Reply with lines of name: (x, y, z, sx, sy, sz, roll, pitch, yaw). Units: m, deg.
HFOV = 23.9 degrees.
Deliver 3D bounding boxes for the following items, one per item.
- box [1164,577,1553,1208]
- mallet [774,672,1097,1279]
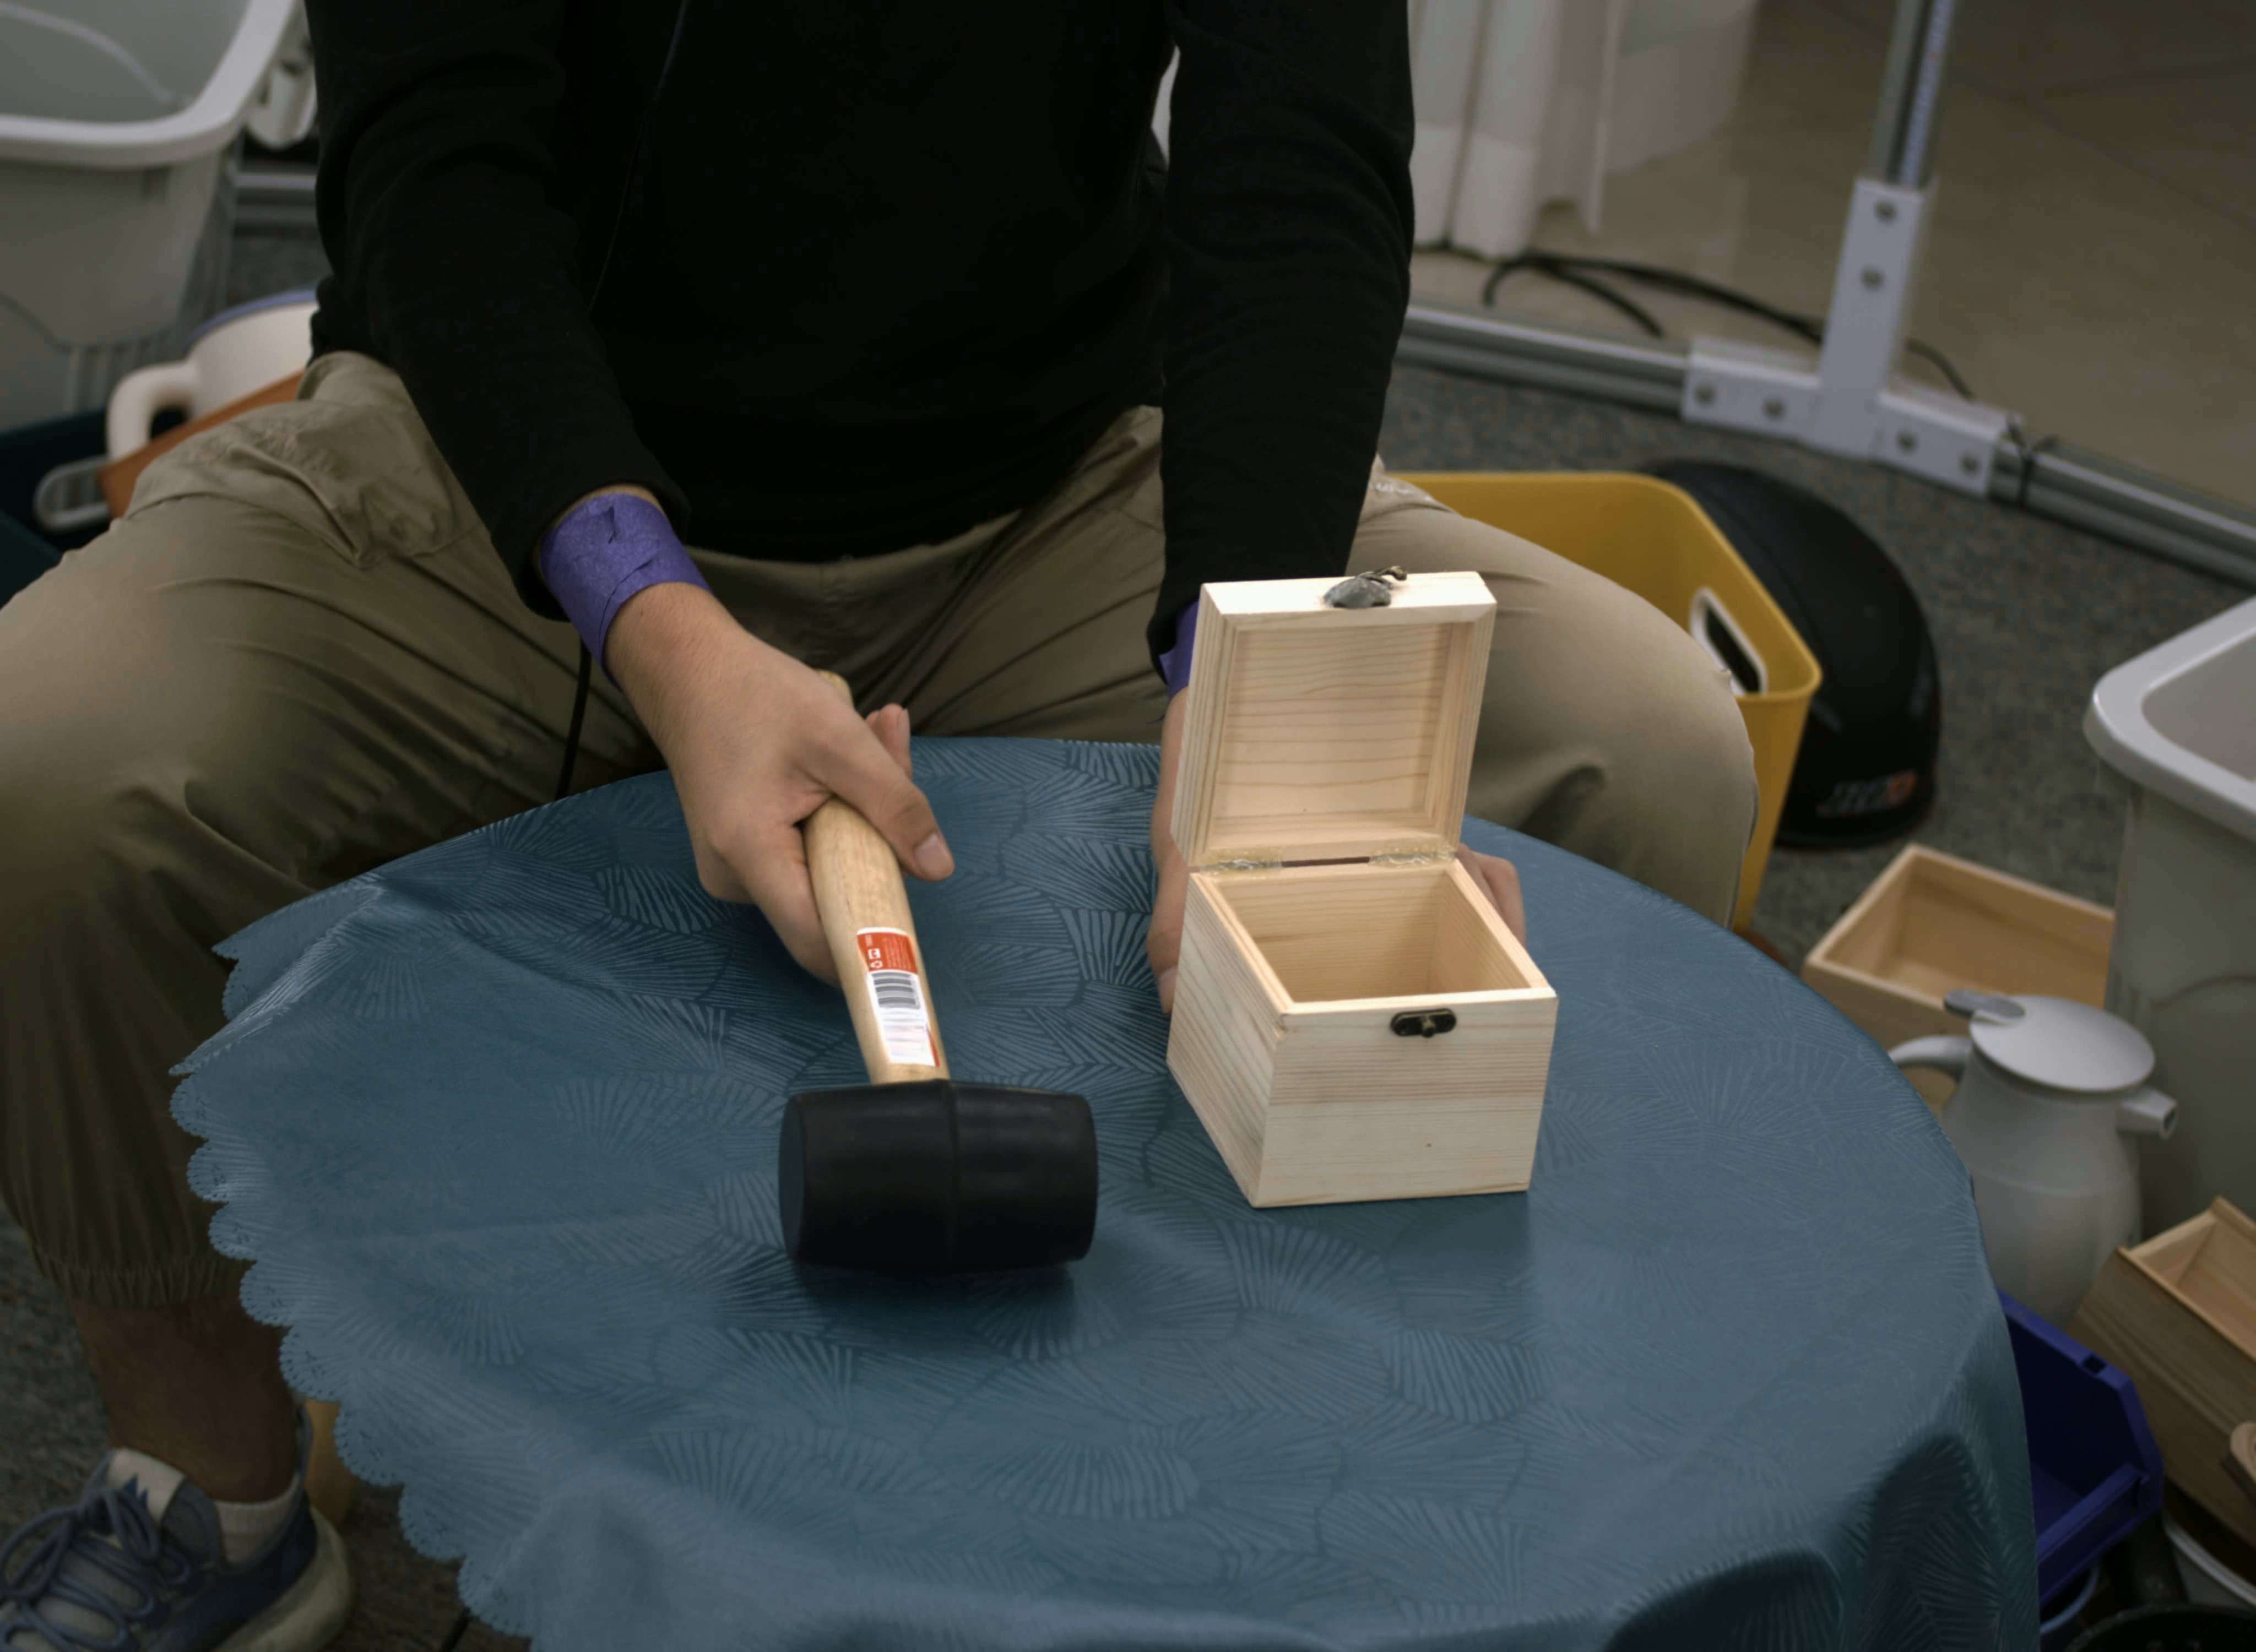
box: (0.081, 0.021, 1.828, 0.102, 0.184, 0.135, -1, 25, -18)
mallet: (-0.086, 0.036, 1.847, 0.101, 0.064, 0.342, 4, 34, -13)
